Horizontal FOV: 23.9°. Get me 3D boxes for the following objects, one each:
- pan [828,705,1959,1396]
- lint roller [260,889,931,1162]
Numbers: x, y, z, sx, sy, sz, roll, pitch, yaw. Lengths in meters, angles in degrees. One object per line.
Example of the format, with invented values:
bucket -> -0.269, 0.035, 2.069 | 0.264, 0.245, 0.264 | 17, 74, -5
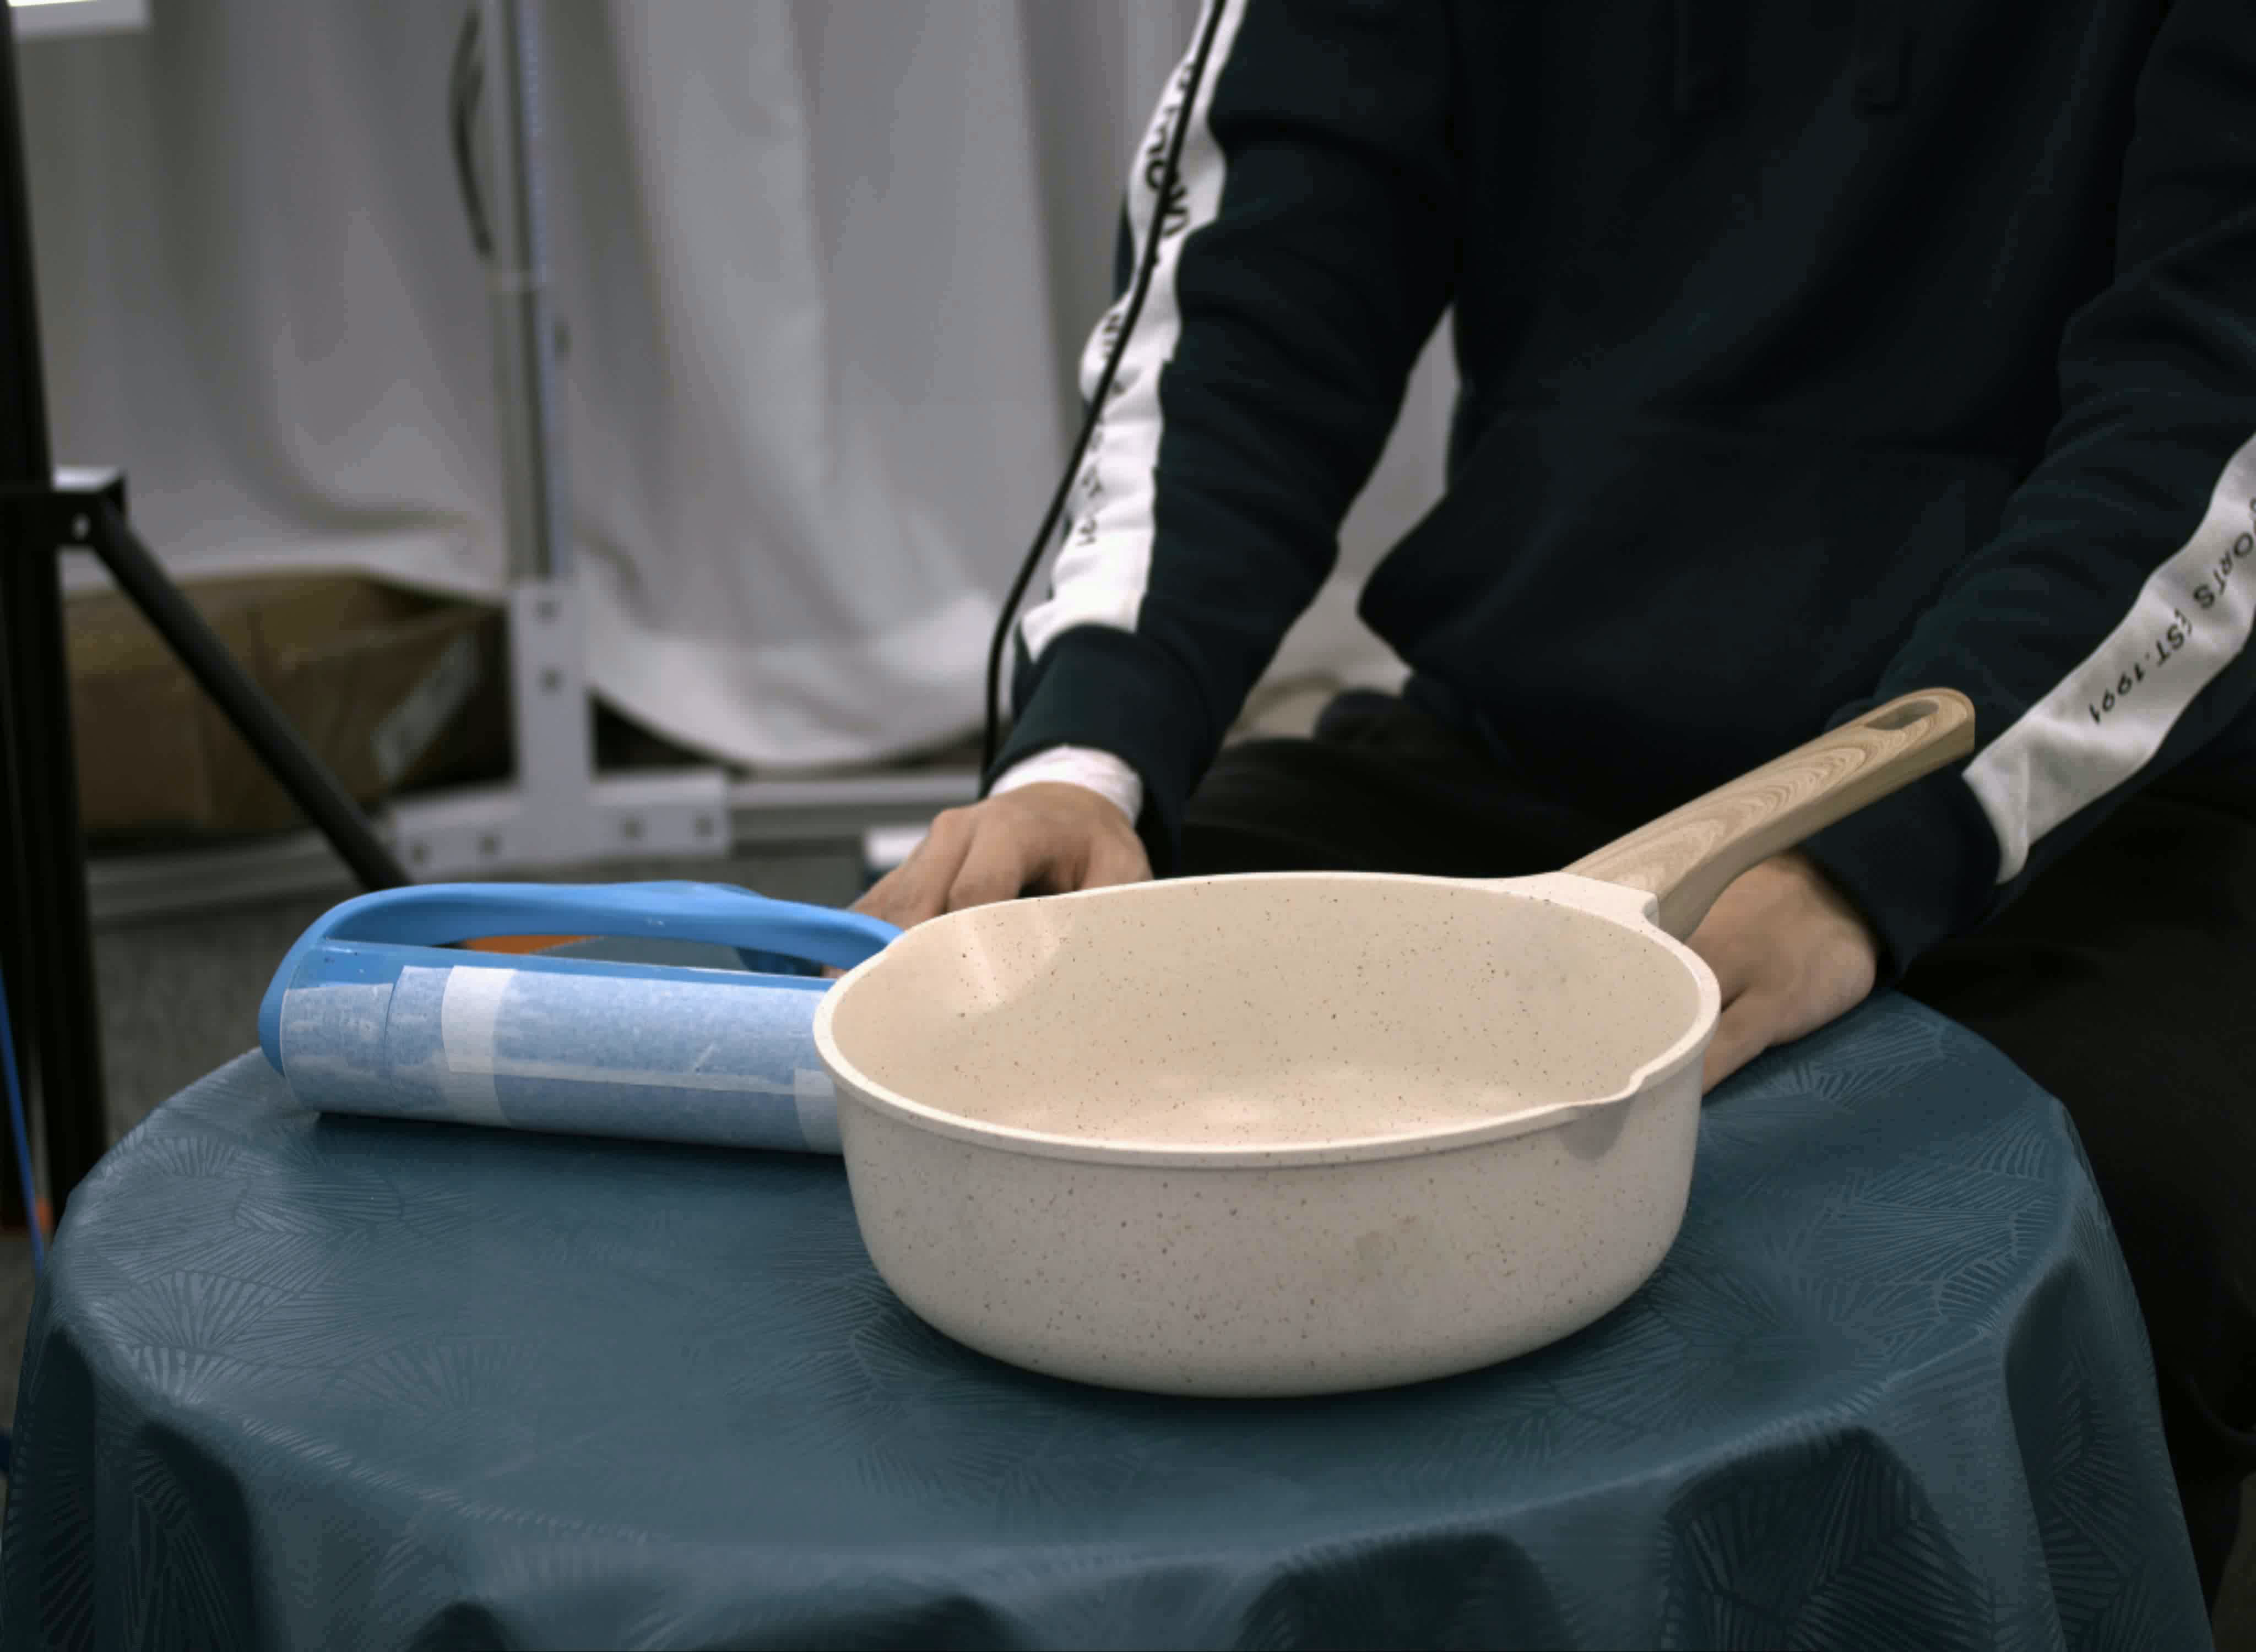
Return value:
pan -> 0.107, 0.060, 1.527 | 0.425, 0.102, 0.269 | -17, 20, -42
lint roller -> -0.143, 0.050, 1.682 | 0.231, 0.068, 0.178 | 1, 17, 18
